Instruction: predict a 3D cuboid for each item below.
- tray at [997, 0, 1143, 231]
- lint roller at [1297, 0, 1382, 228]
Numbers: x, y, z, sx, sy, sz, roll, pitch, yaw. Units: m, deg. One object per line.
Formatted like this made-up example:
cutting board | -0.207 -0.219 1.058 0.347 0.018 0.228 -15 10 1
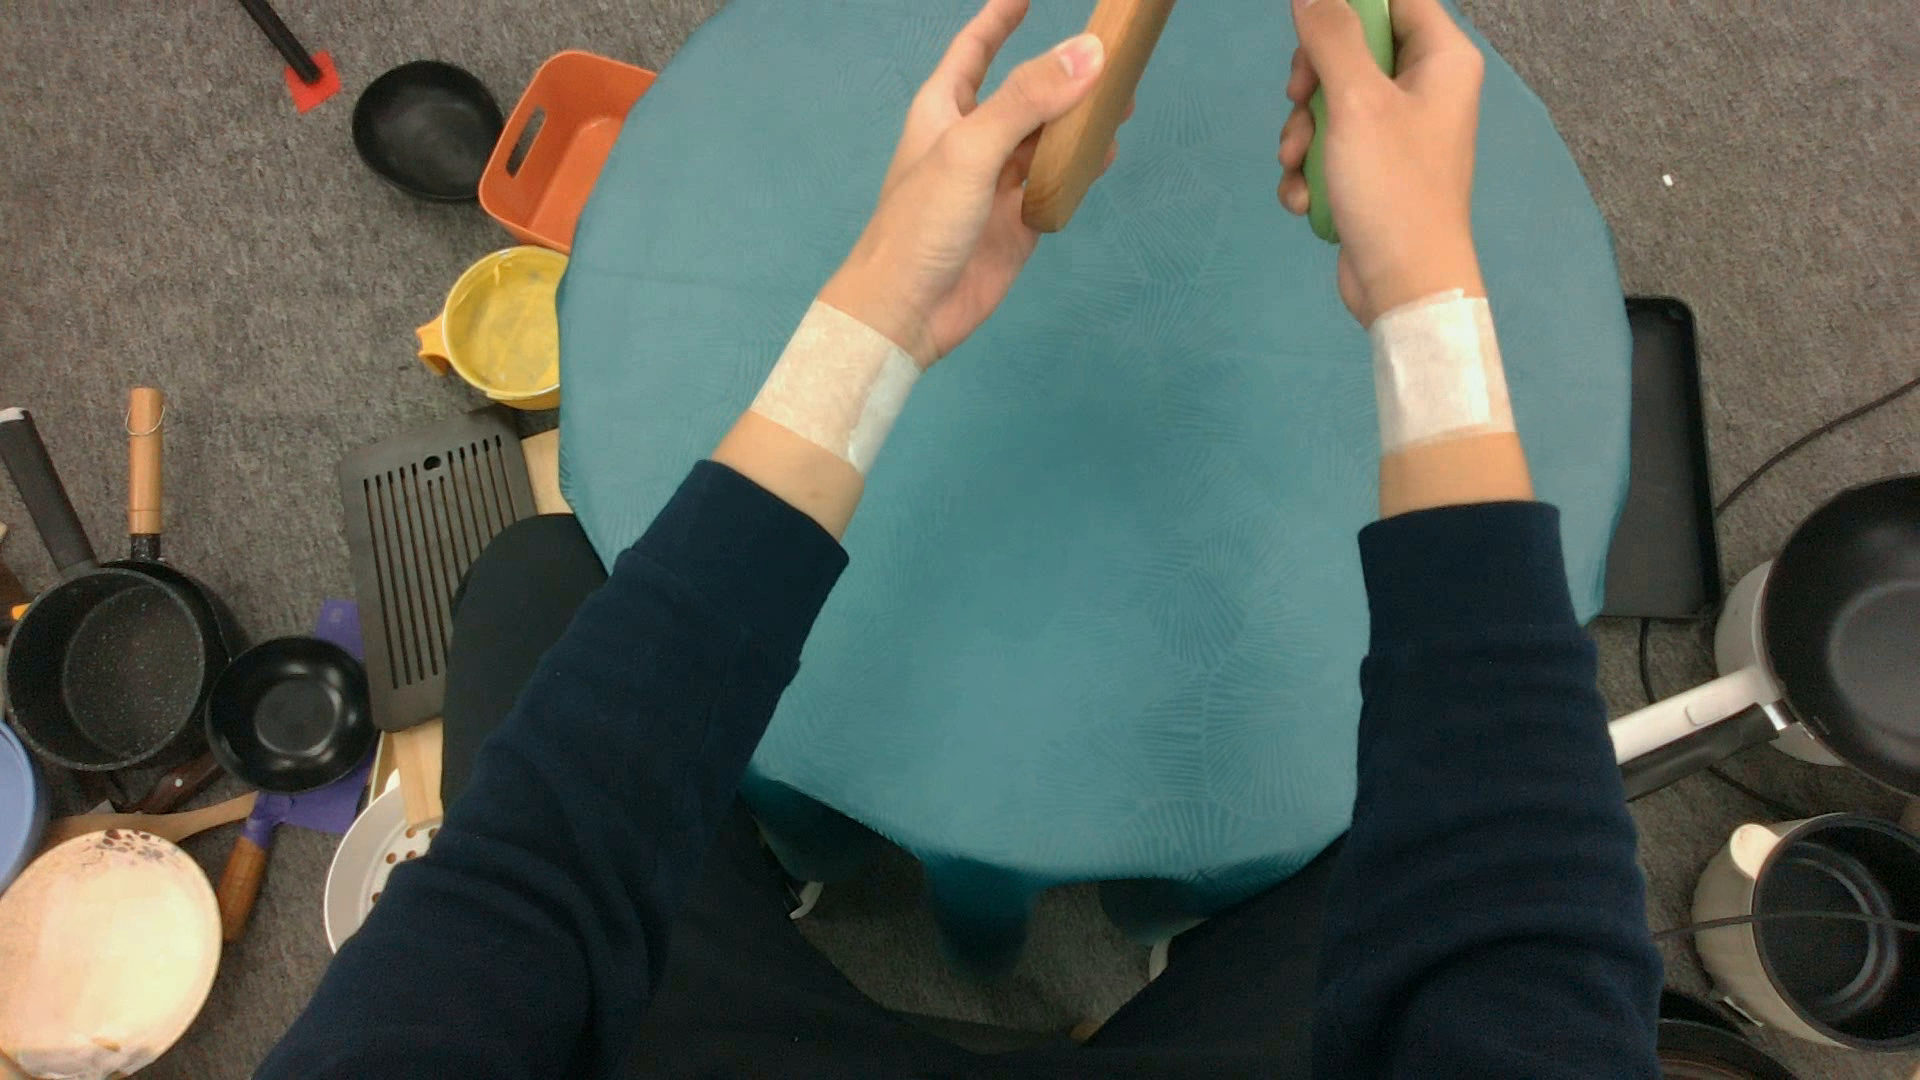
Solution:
tray | 0.068 -0.232 0.551 0.020 0.102 0.230 24 100 6
lint roller | 0.160 -0.221 0.540 0.082 0.199 0.183 -13 98 14
